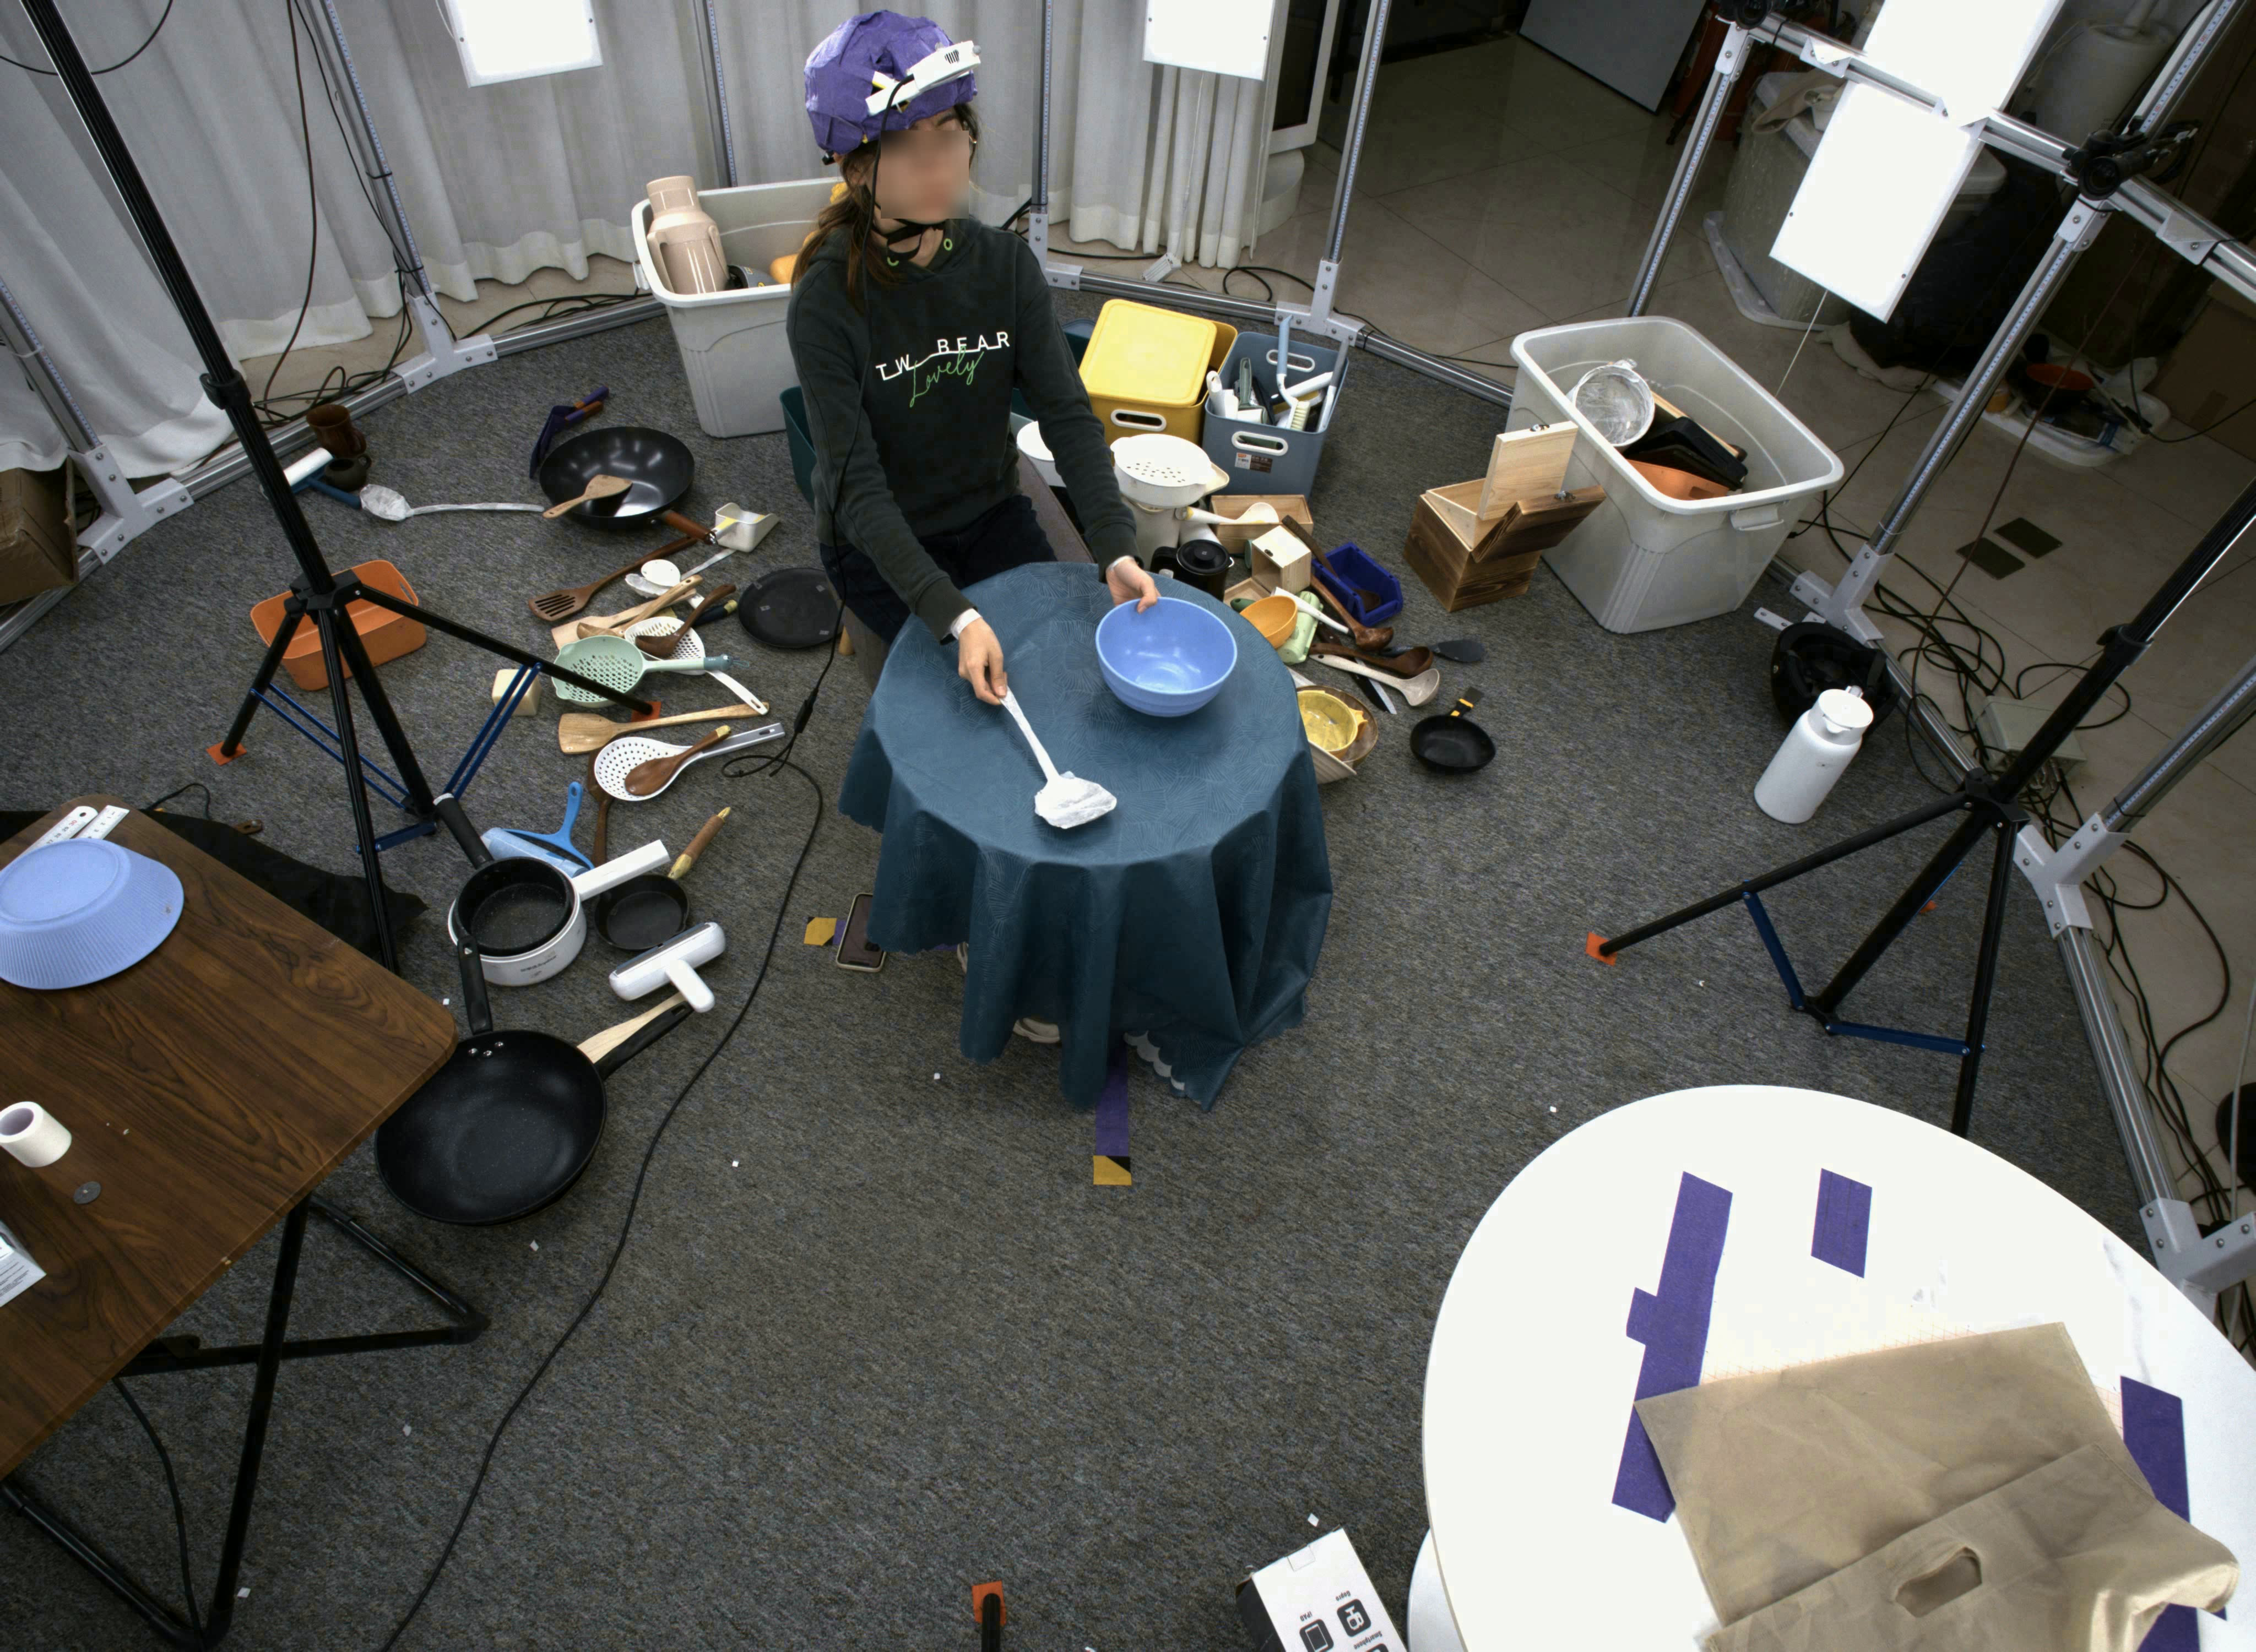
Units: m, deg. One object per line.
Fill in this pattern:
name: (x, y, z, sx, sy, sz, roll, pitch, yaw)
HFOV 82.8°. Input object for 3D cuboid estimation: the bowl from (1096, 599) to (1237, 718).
bowl: (0.050, -0.222, 1.816, 0.196, 0.093, 0.201, 3, 49, -4)

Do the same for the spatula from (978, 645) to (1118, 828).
spatula: (-0.132, -0.133, 1.752, 0.099, 0.044, 0.372, -21, 59, -17)
